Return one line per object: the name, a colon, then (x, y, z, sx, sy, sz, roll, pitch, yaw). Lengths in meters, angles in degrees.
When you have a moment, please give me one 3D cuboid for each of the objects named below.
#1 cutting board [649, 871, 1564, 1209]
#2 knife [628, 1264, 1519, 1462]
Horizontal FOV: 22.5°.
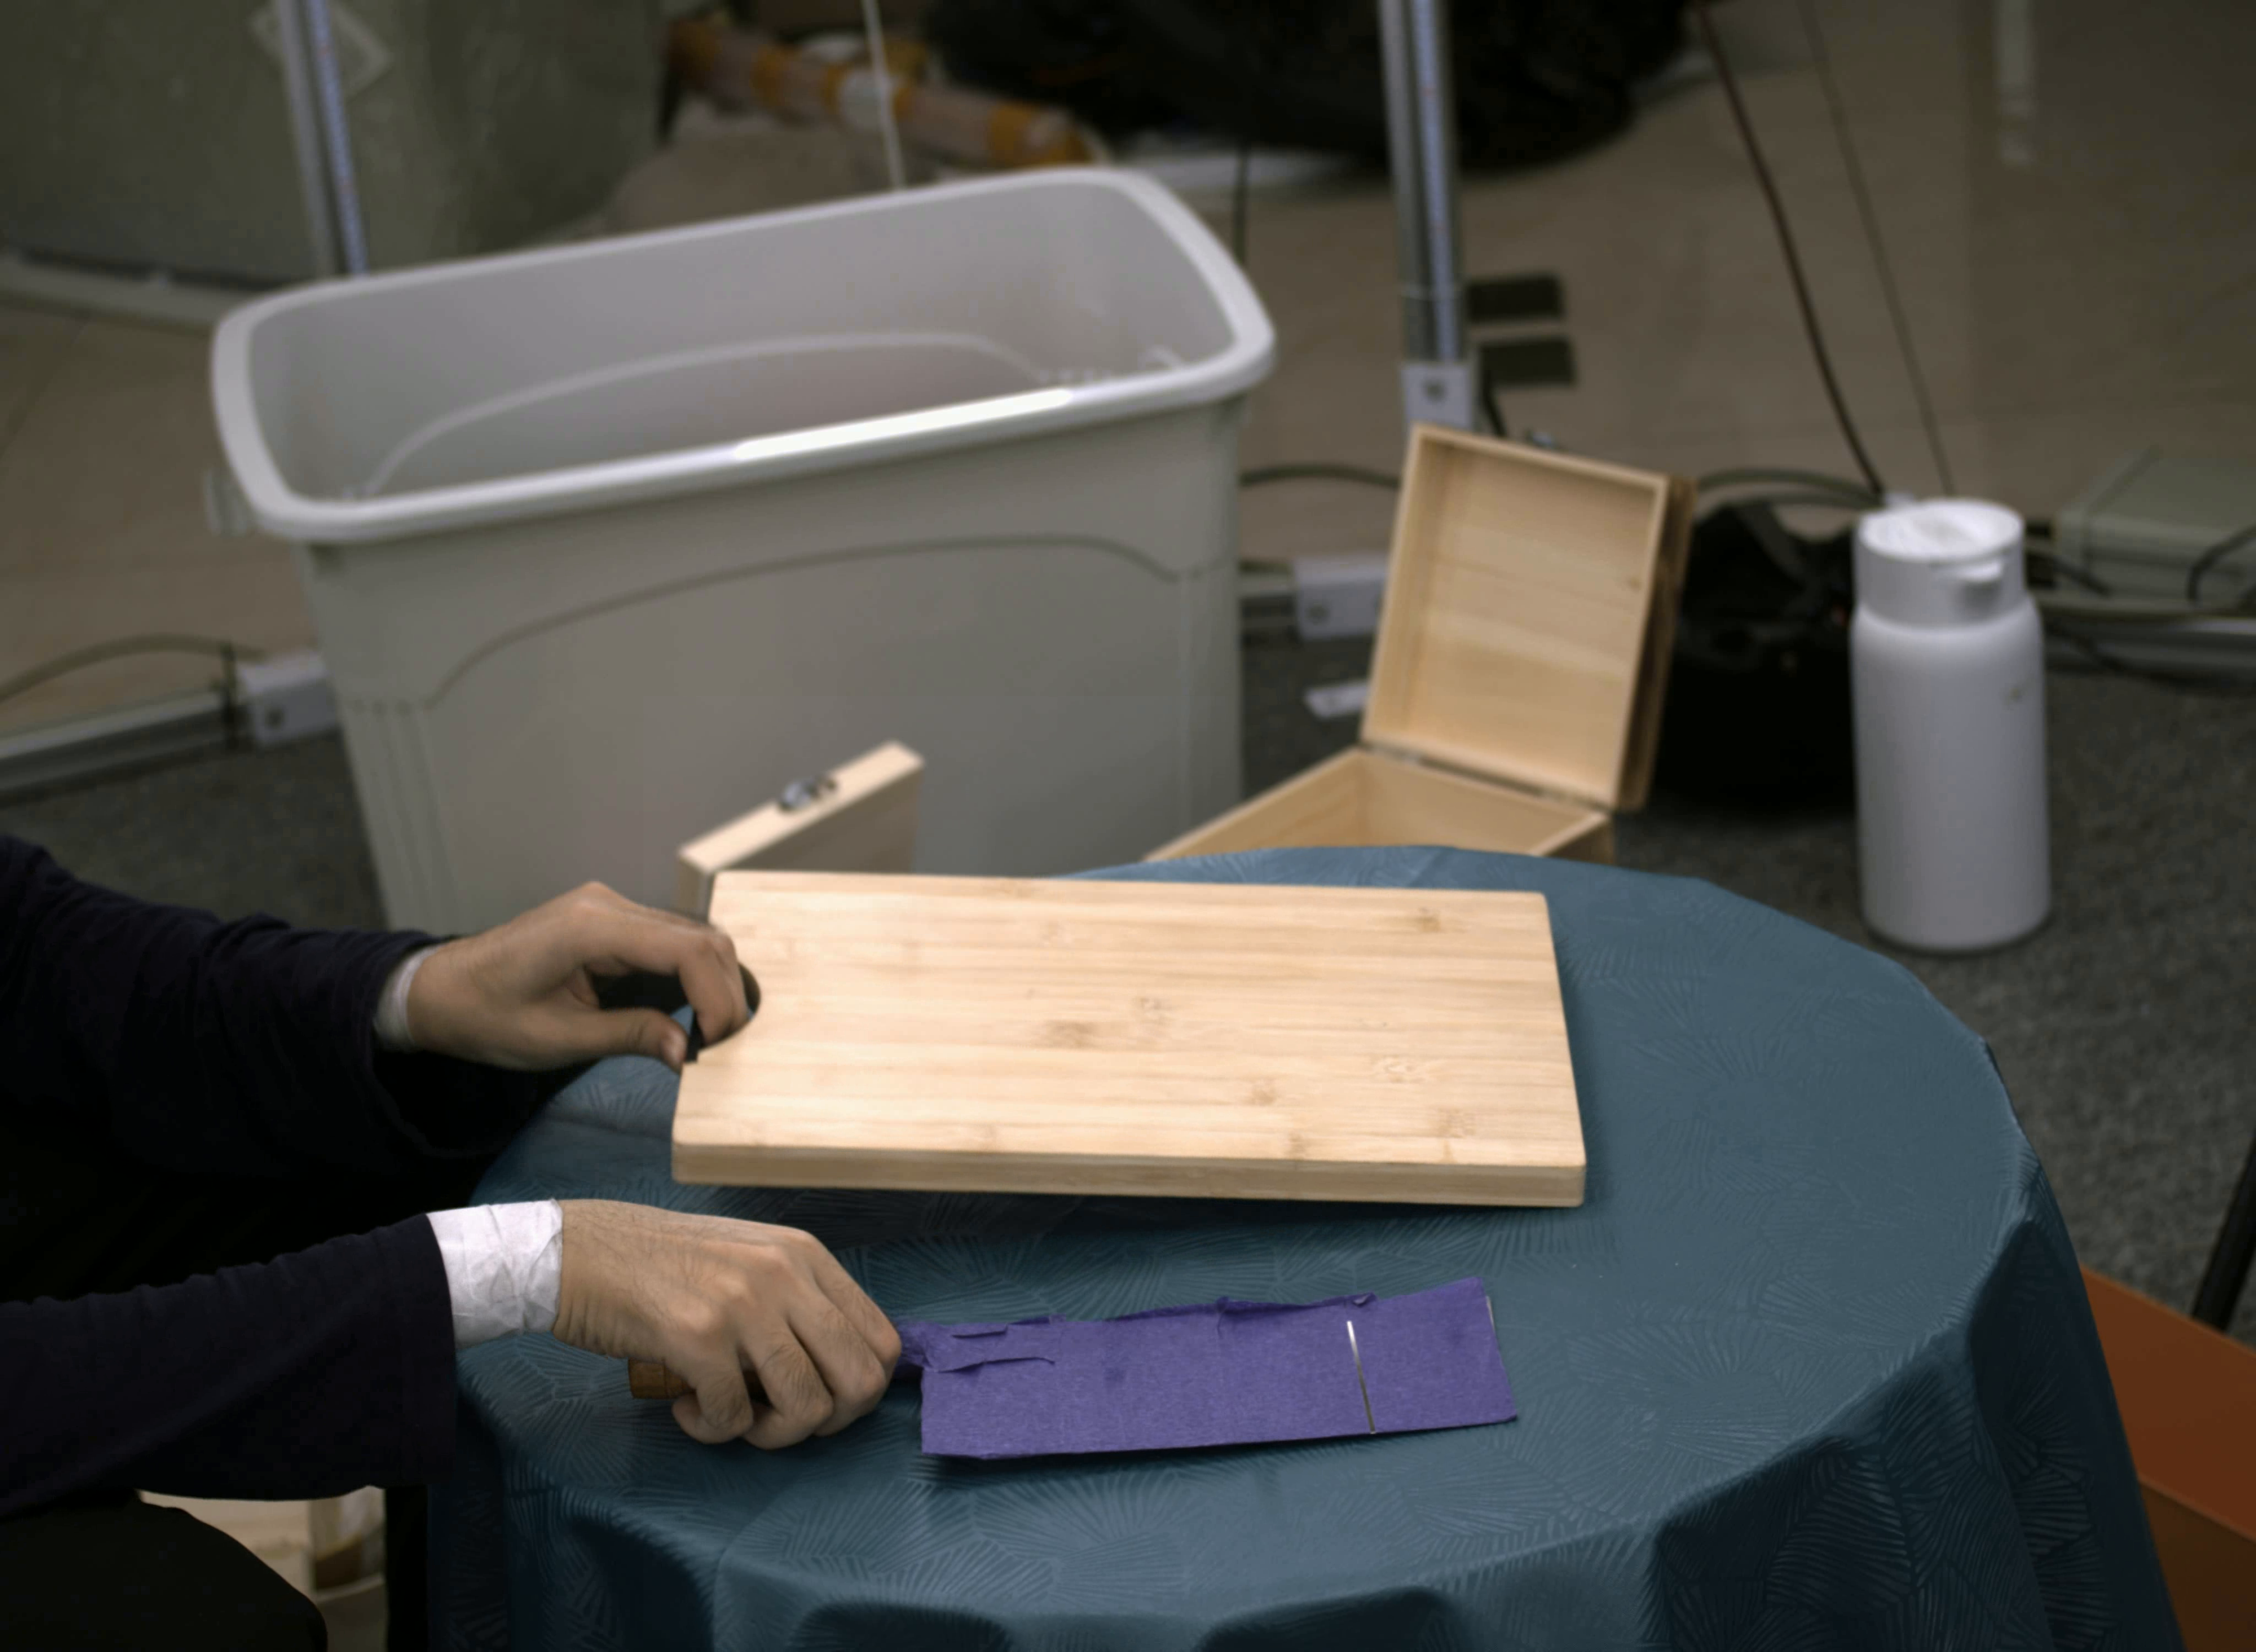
cutting board: (-0.004, 0.081, 2.206, 0.348, 0.024, 0.247, 1, 25, -1)
knife: (-0.021, 0.193, 2.008, 0.315, 0.033, 0.102, -6, 24, 0)
